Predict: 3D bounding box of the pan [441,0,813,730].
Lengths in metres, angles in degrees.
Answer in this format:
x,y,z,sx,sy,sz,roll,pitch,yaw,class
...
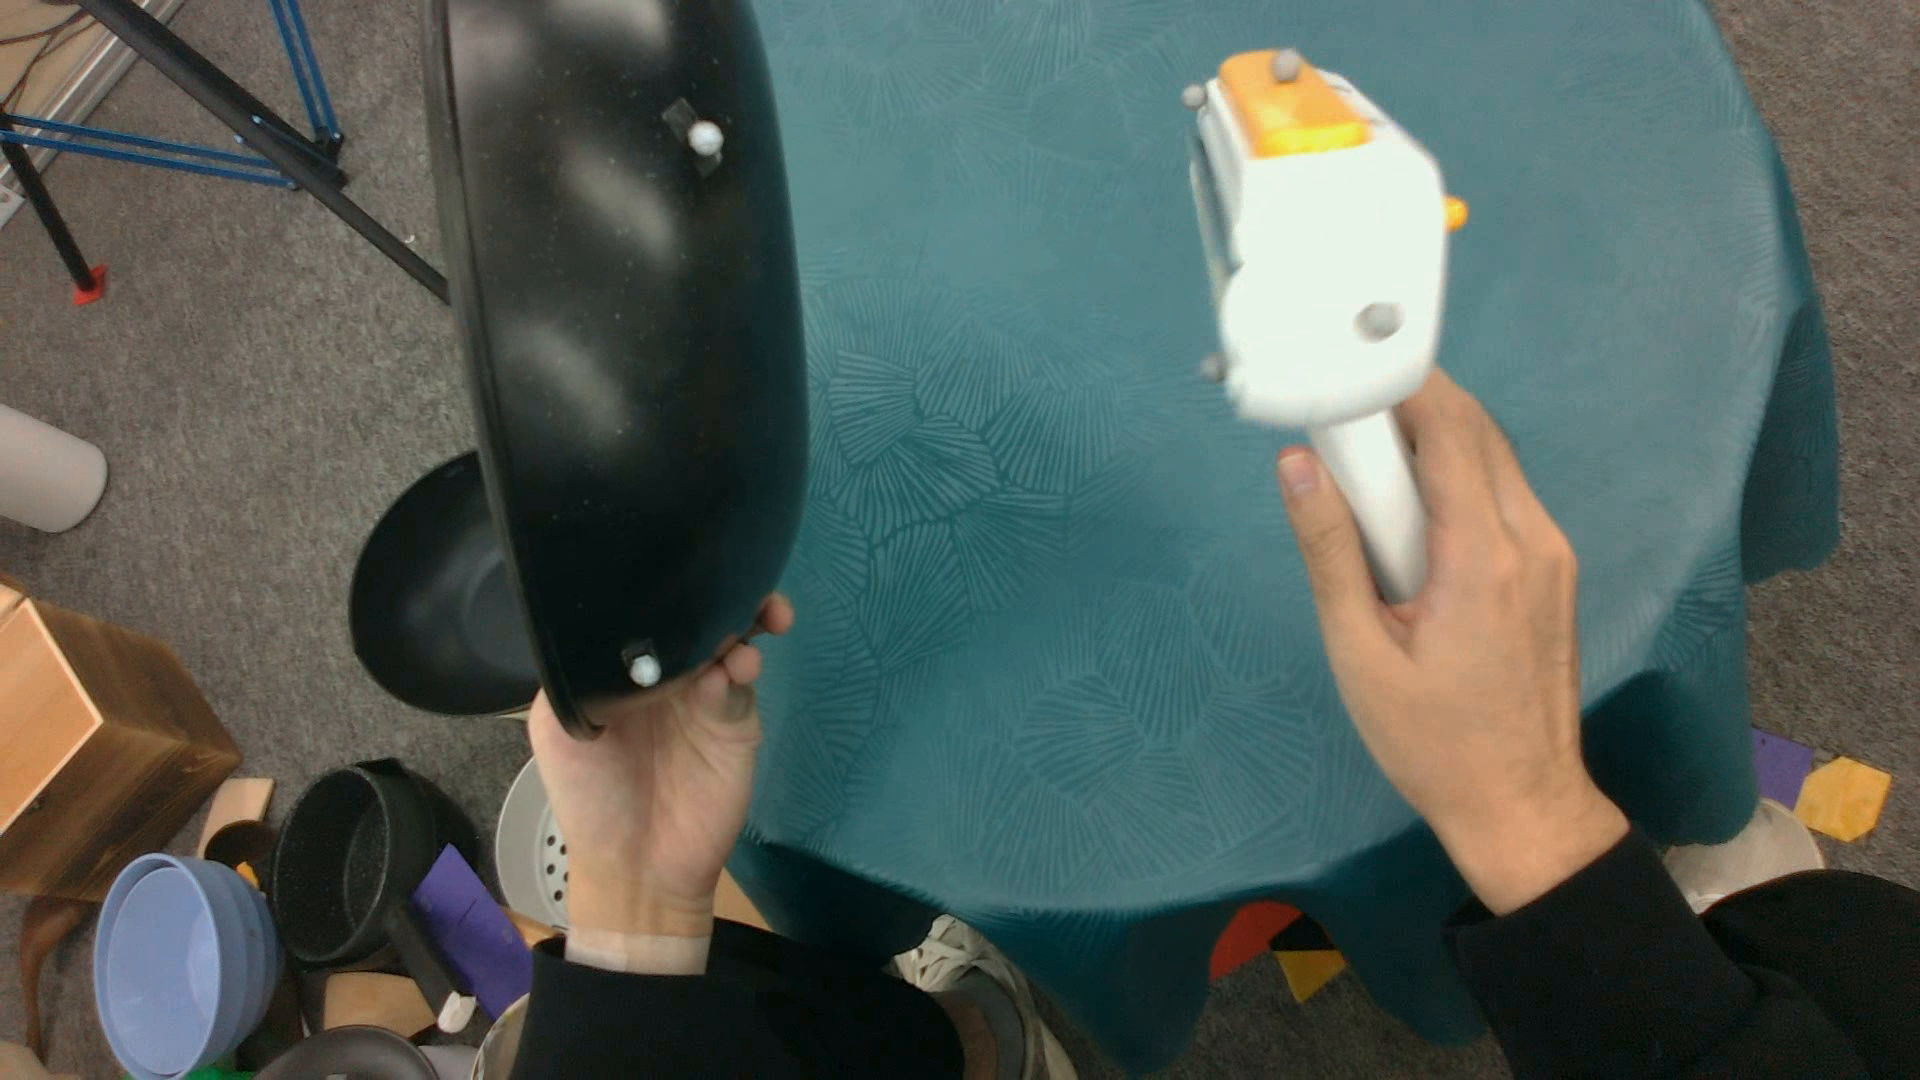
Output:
x,y,z,sx,sy,sz,roll,pitch,yaw,class
-0.109,-0.133,0.403,0.112,0.474,0.311,-8,62,-11,pan

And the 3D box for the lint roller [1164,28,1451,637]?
x,y,z,sx,sy,sz,roll,pitch,yaw,class
0.111,-0.047,0.421,0.074,0.192,0.193,-13,29,8,lint roller
